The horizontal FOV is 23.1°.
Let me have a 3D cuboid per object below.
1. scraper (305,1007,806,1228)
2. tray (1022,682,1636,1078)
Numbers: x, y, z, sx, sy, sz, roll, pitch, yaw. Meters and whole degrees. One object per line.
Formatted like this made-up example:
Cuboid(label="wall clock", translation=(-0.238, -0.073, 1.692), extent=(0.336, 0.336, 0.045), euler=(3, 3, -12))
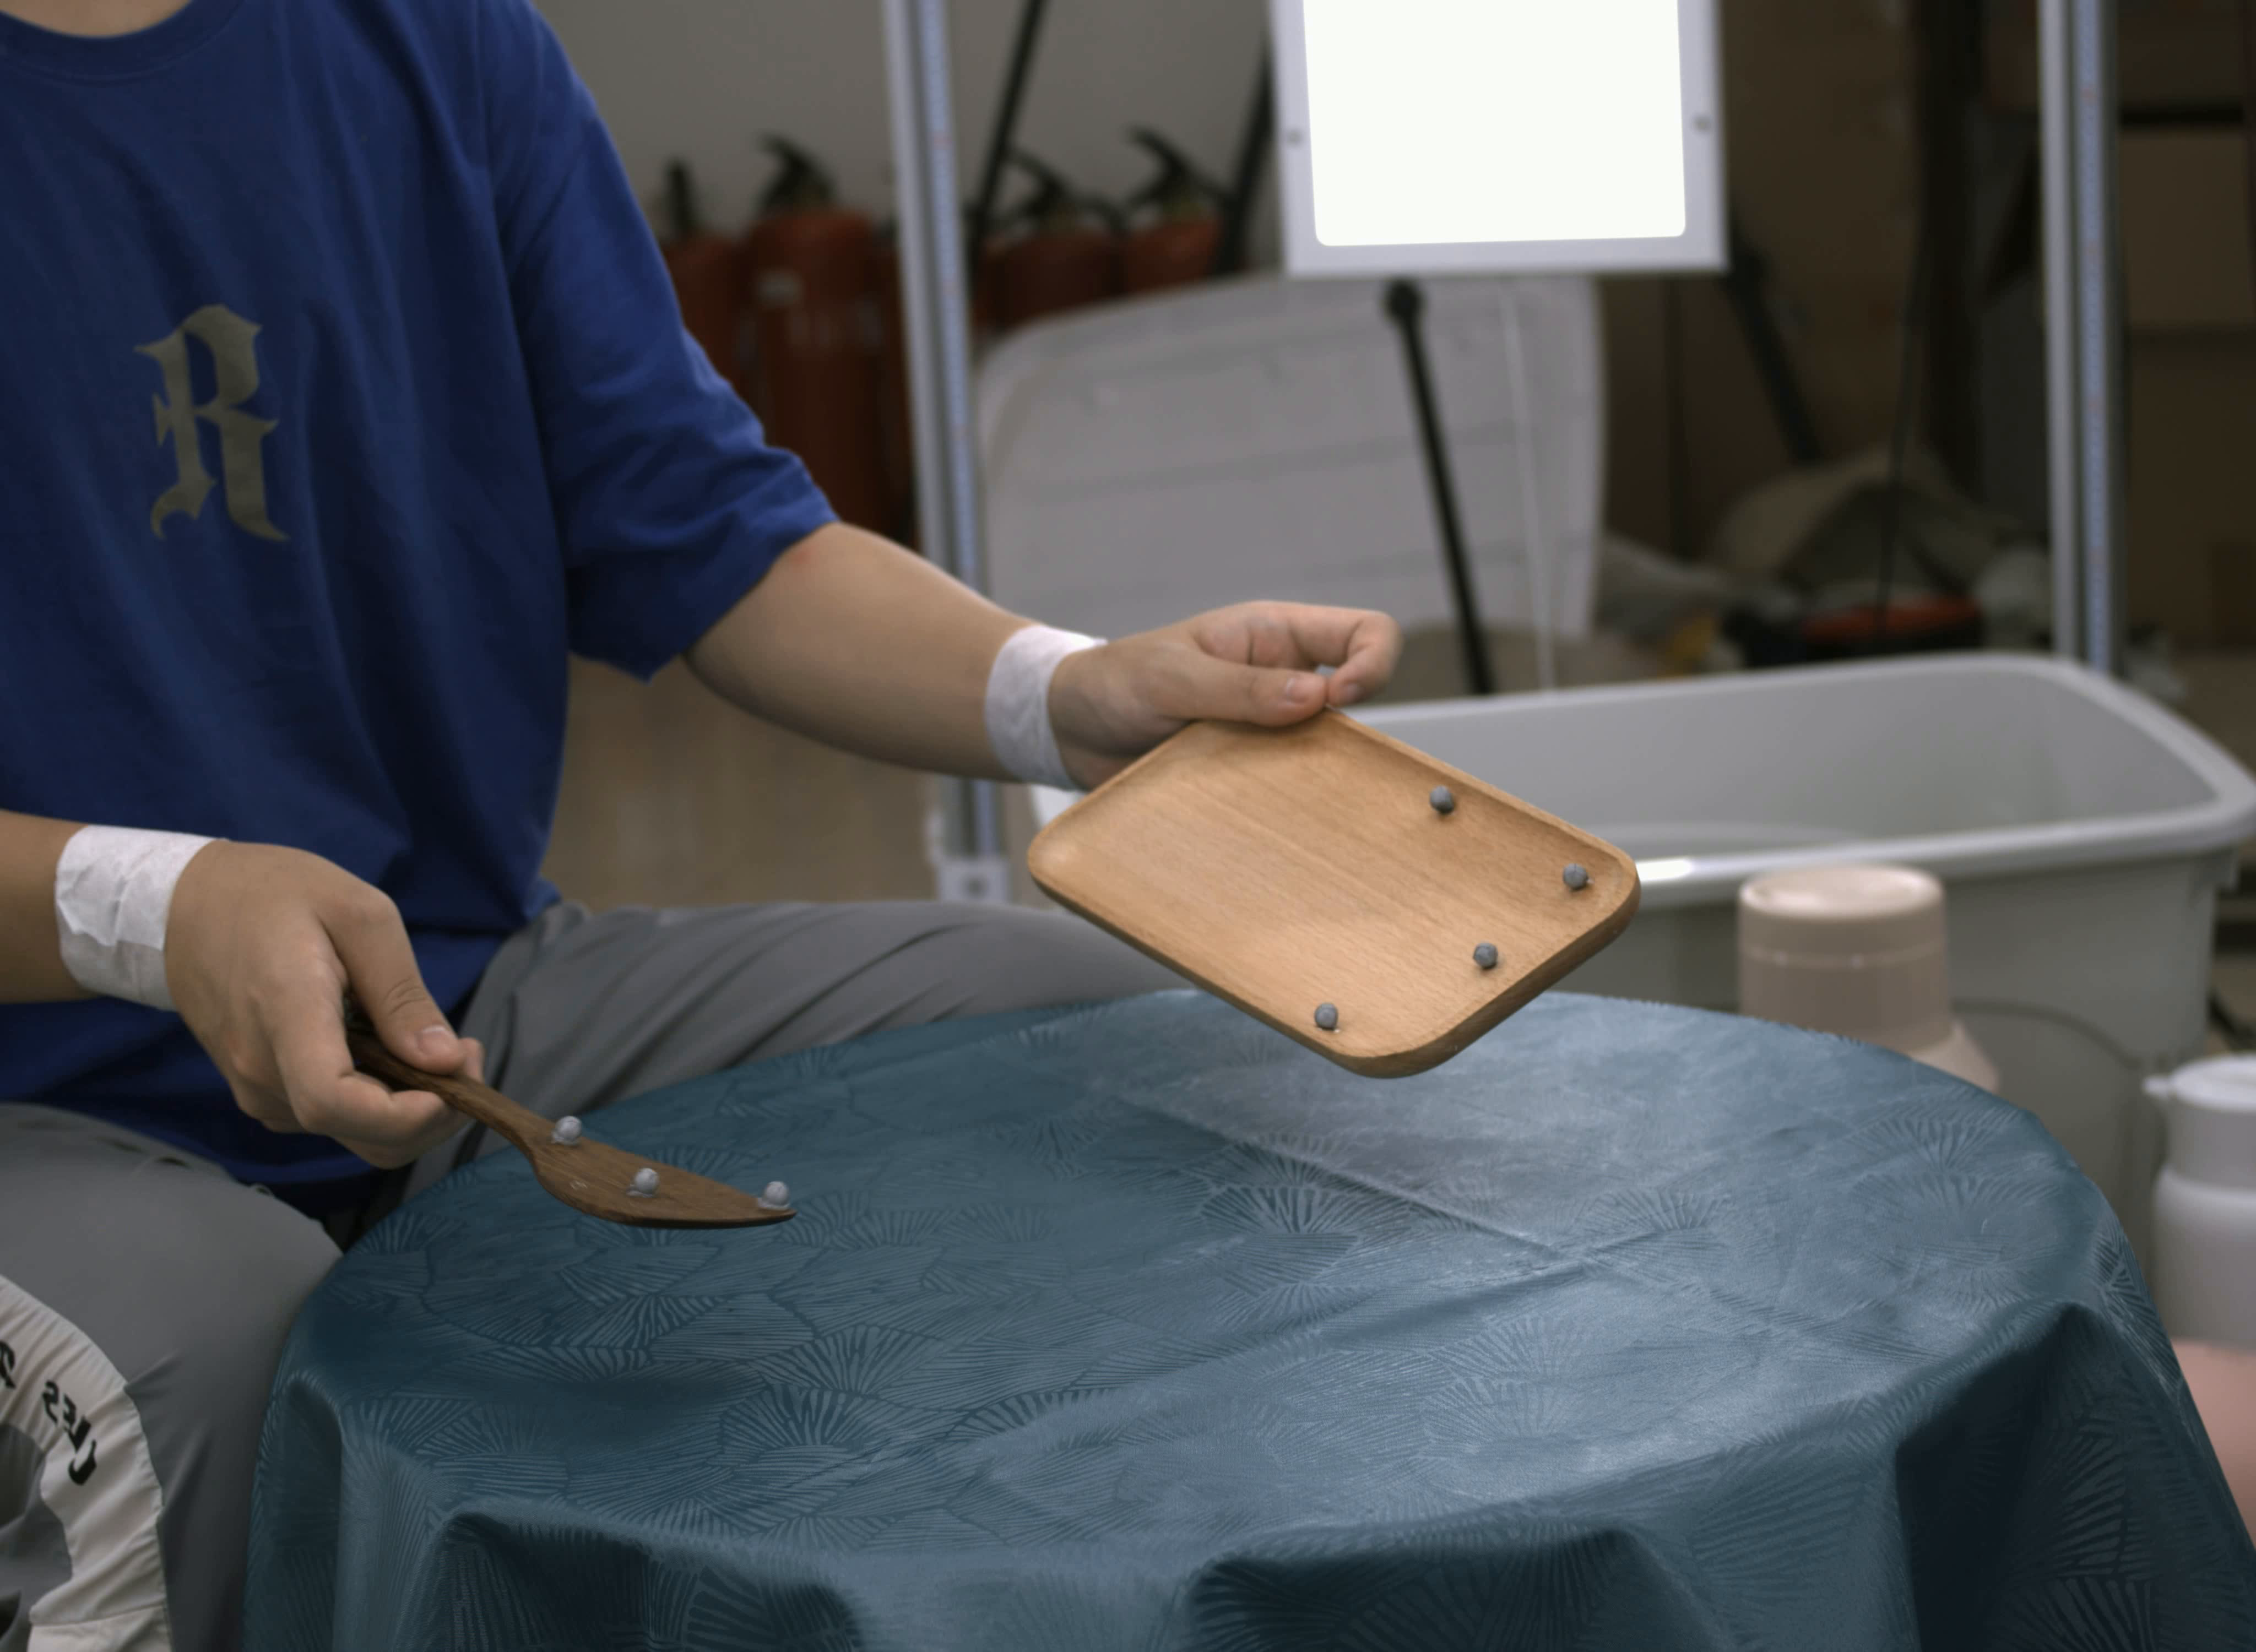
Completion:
Cuboid(label="scraper", translation=(-0.195, 0.094, 1.782), extent=(0.074, 0.011, 0.215), euler=(-1, 17, -46))
Cuboid(label="tray", translation=(0.068, 0.016, 1.925), extent=(0.129, 0.023, 0.255), euler=(-32, 30, -18))
